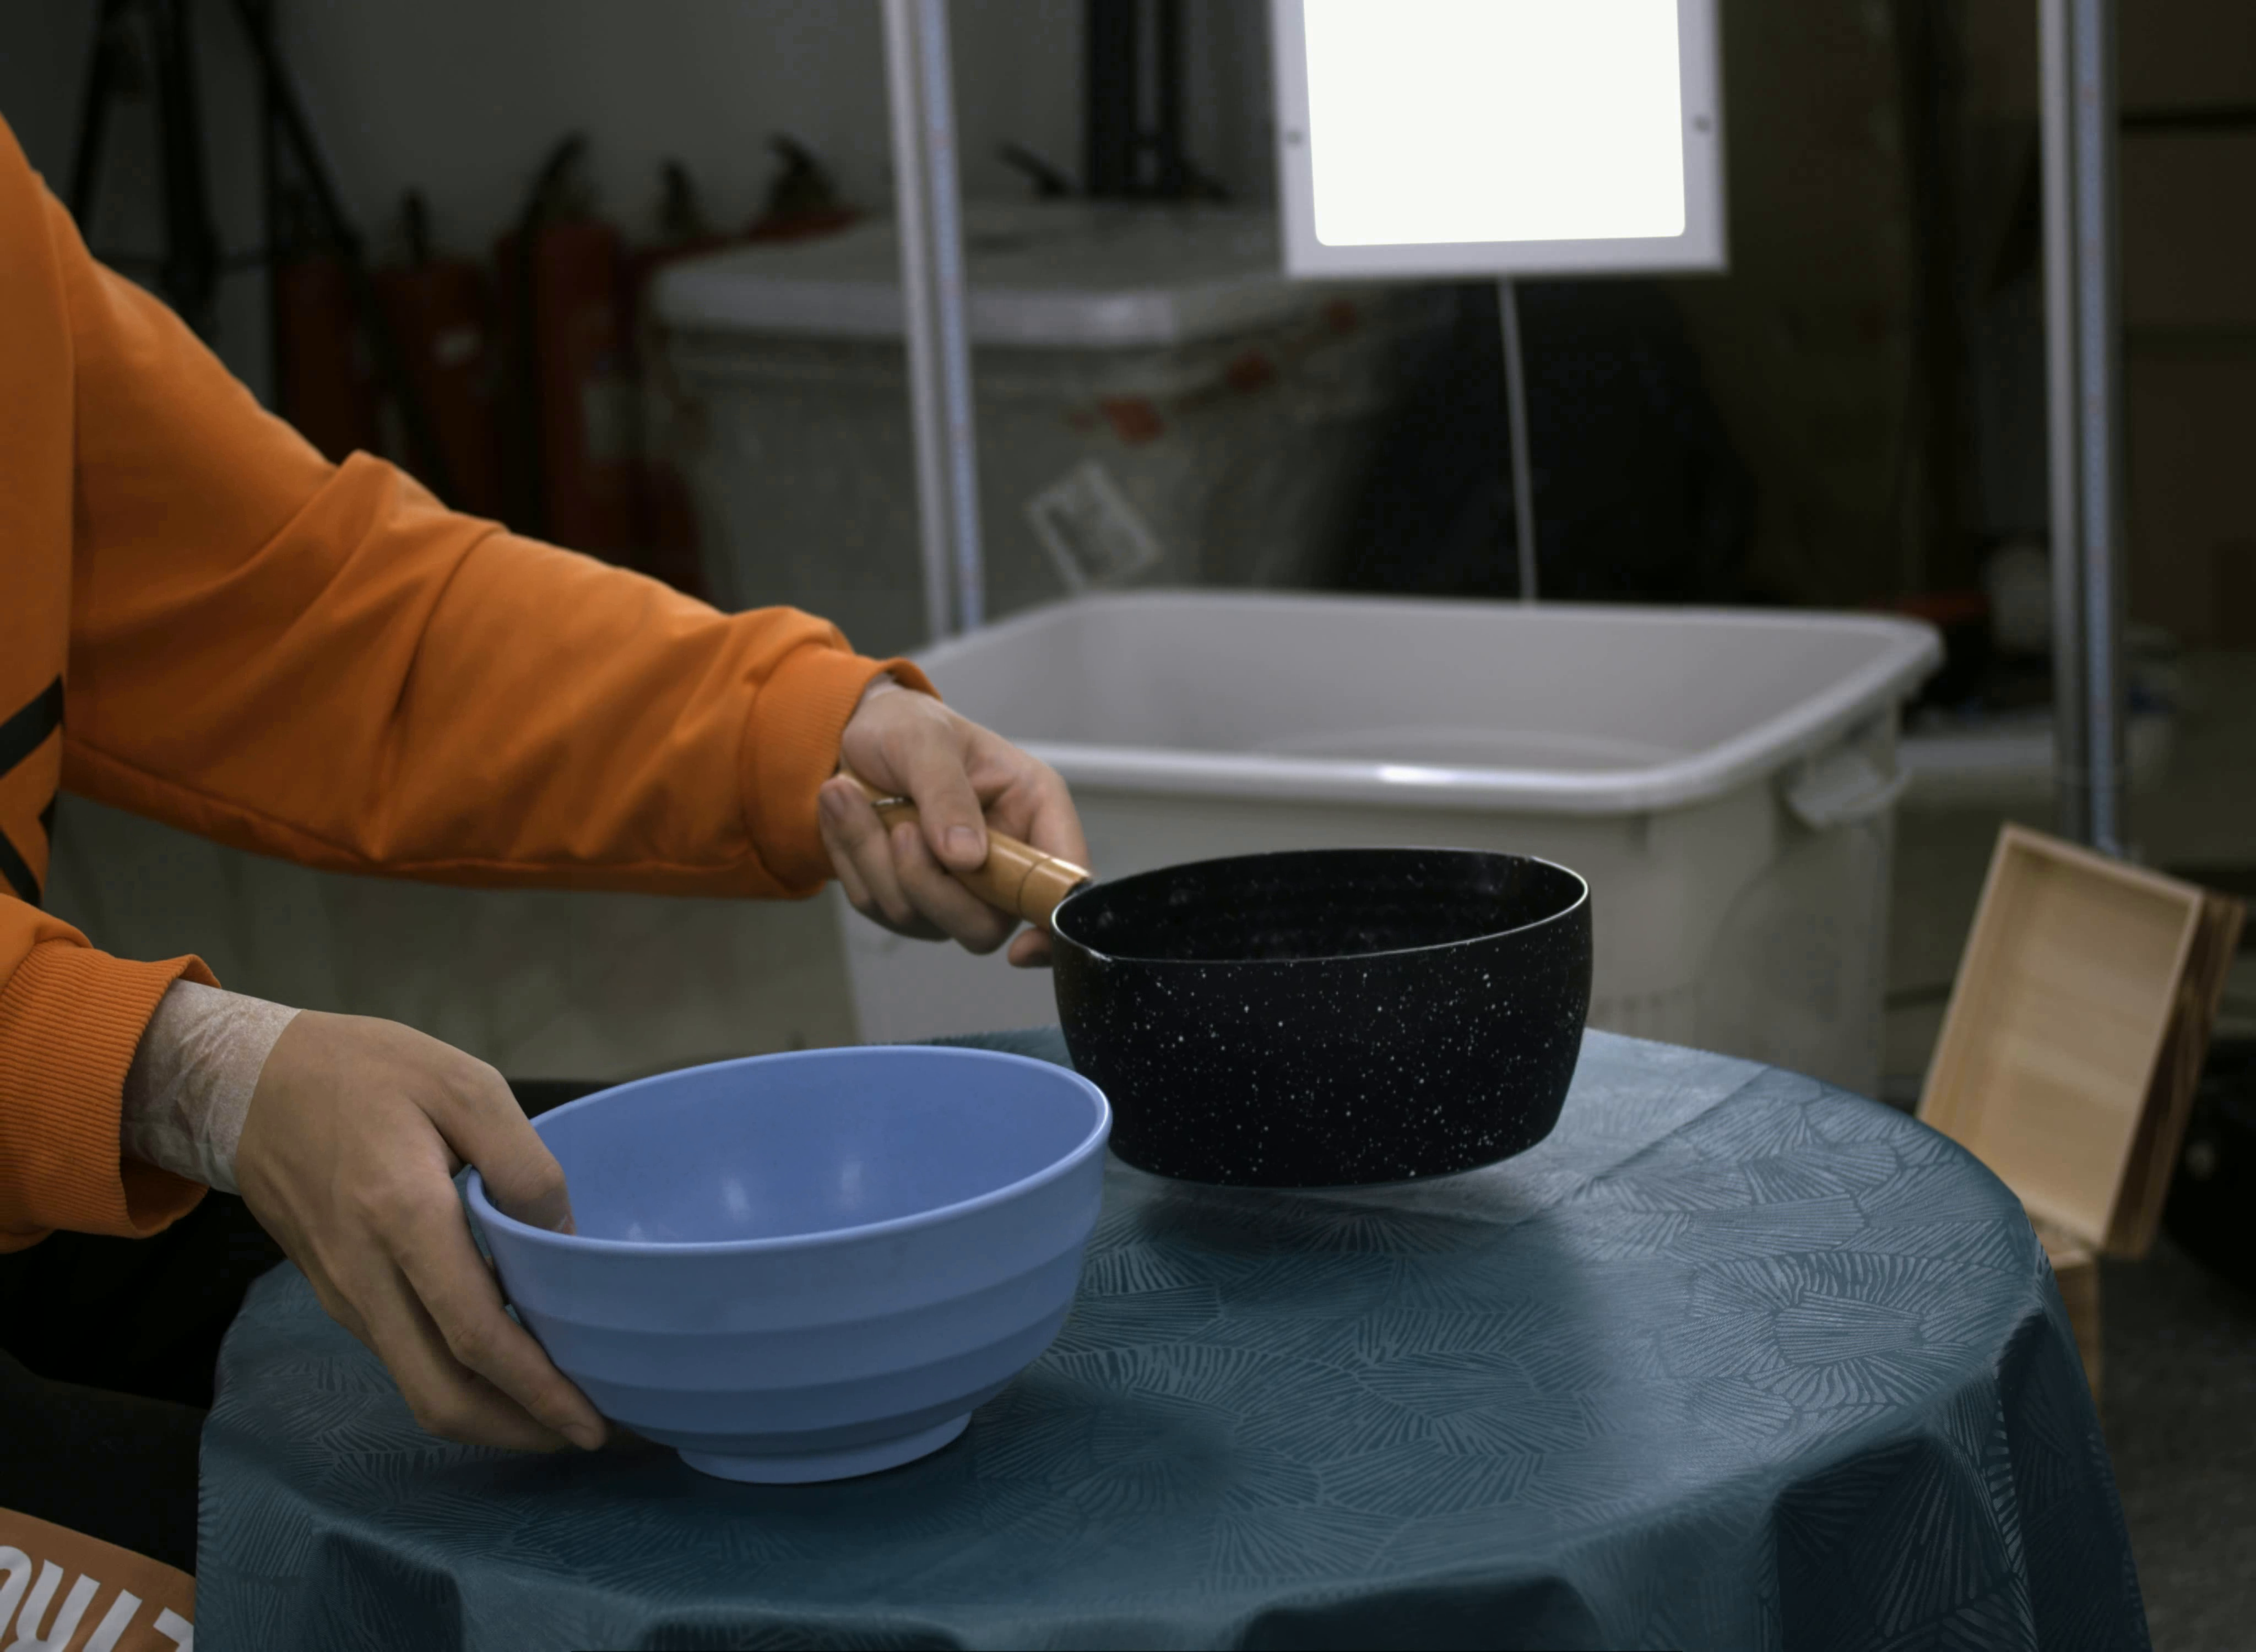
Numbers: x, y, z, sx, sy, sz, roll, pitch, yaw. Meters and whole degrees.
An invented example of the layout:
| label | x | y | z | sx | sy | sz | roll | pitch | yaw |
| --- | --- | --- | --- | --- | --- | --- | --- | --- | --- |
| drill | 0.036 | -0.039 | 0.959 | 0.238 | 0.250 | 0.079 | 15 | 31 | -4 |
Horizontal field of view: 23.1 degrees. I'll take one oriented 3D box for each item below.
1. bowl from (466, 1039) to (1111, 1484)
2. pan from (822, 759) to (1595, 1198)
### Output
| label | x | y | z | sx | sy | sz | roll | pitch | yaw |
| --- | --- | --- | --- | --- | --- | --- | --- | --- | --- |
| bowl | -0.098 | 0.139 | 1.676 | 0.196 | 0.096 | 0.196 | -6 | 15 | 0 |
| pan | 0.011 | 0.046 | 1.918 | 0.202 | 0.108 | 0.350 | -15 | 16 | -42 |
